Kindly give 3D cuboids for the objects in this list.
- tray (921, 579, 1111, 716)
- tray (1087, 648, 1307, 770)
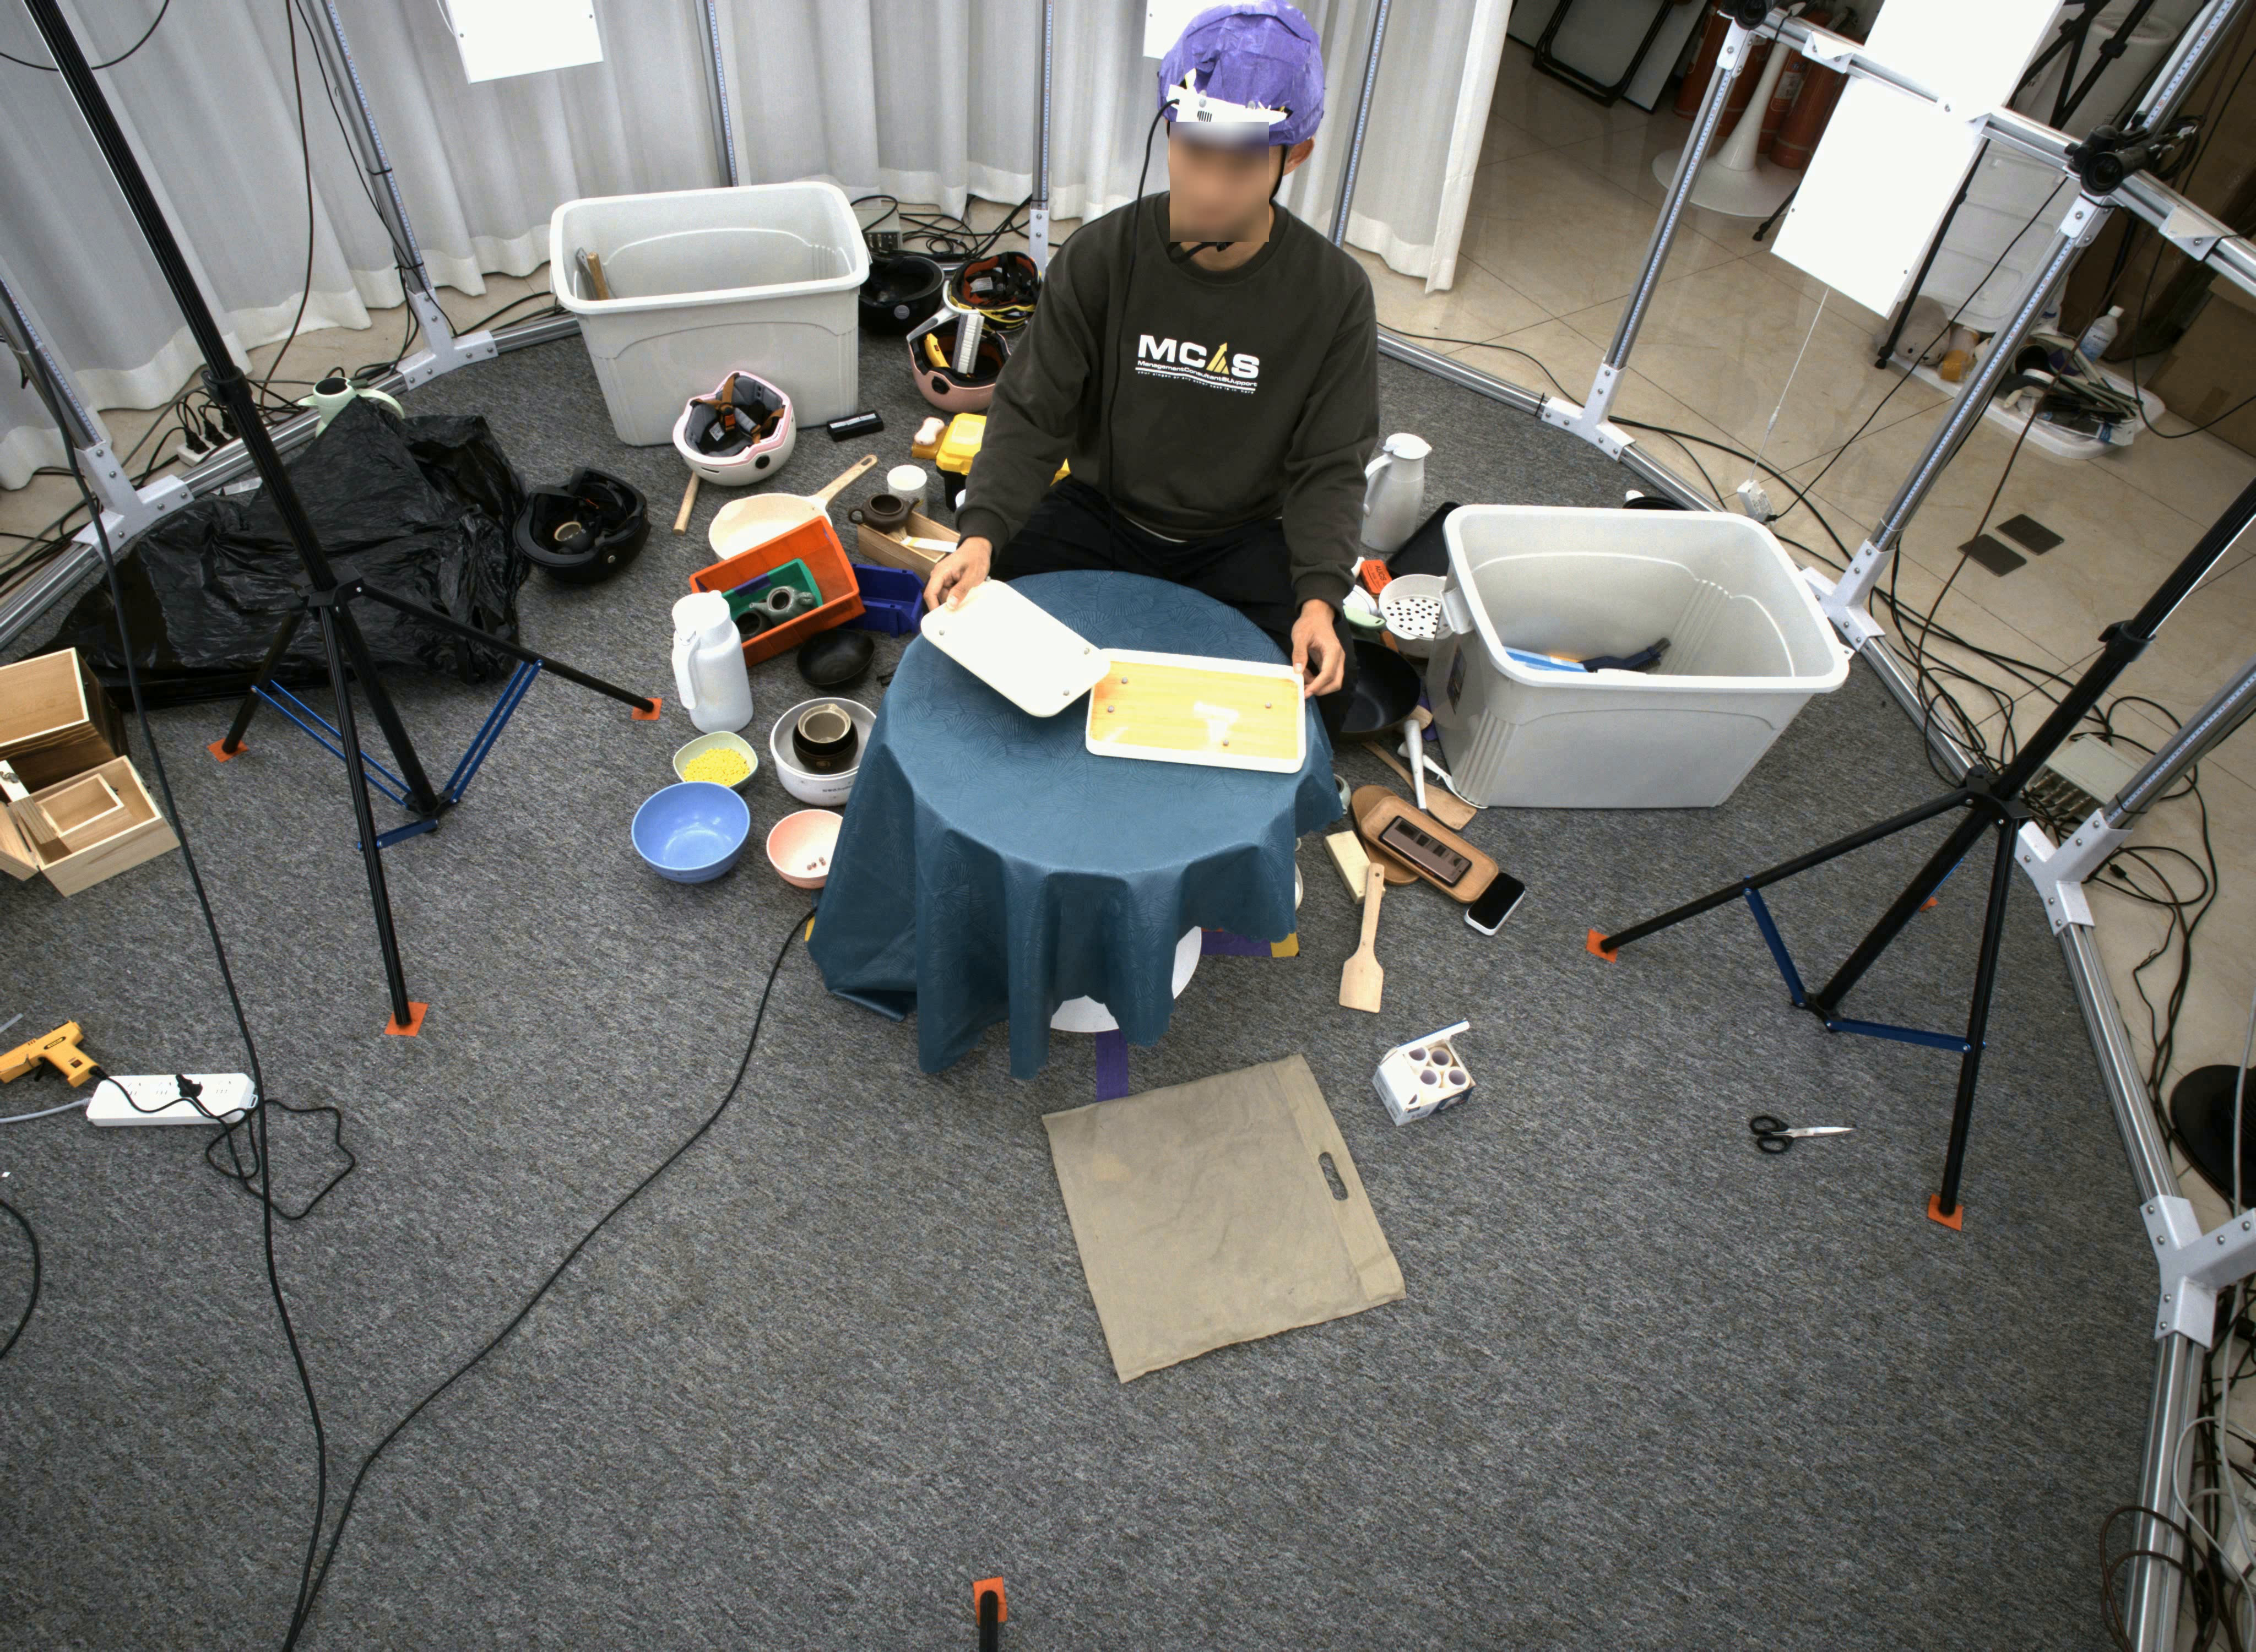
[{"bbox_3d":[-0.155,-0.249,1.786,0.242,0.017,0.173,36,50,16],"label":"tray"},{"bbox_3d":[0.098,-0.166,1.799,0.300,0.027,0.196,5,49,0],"label":"tray"}]
